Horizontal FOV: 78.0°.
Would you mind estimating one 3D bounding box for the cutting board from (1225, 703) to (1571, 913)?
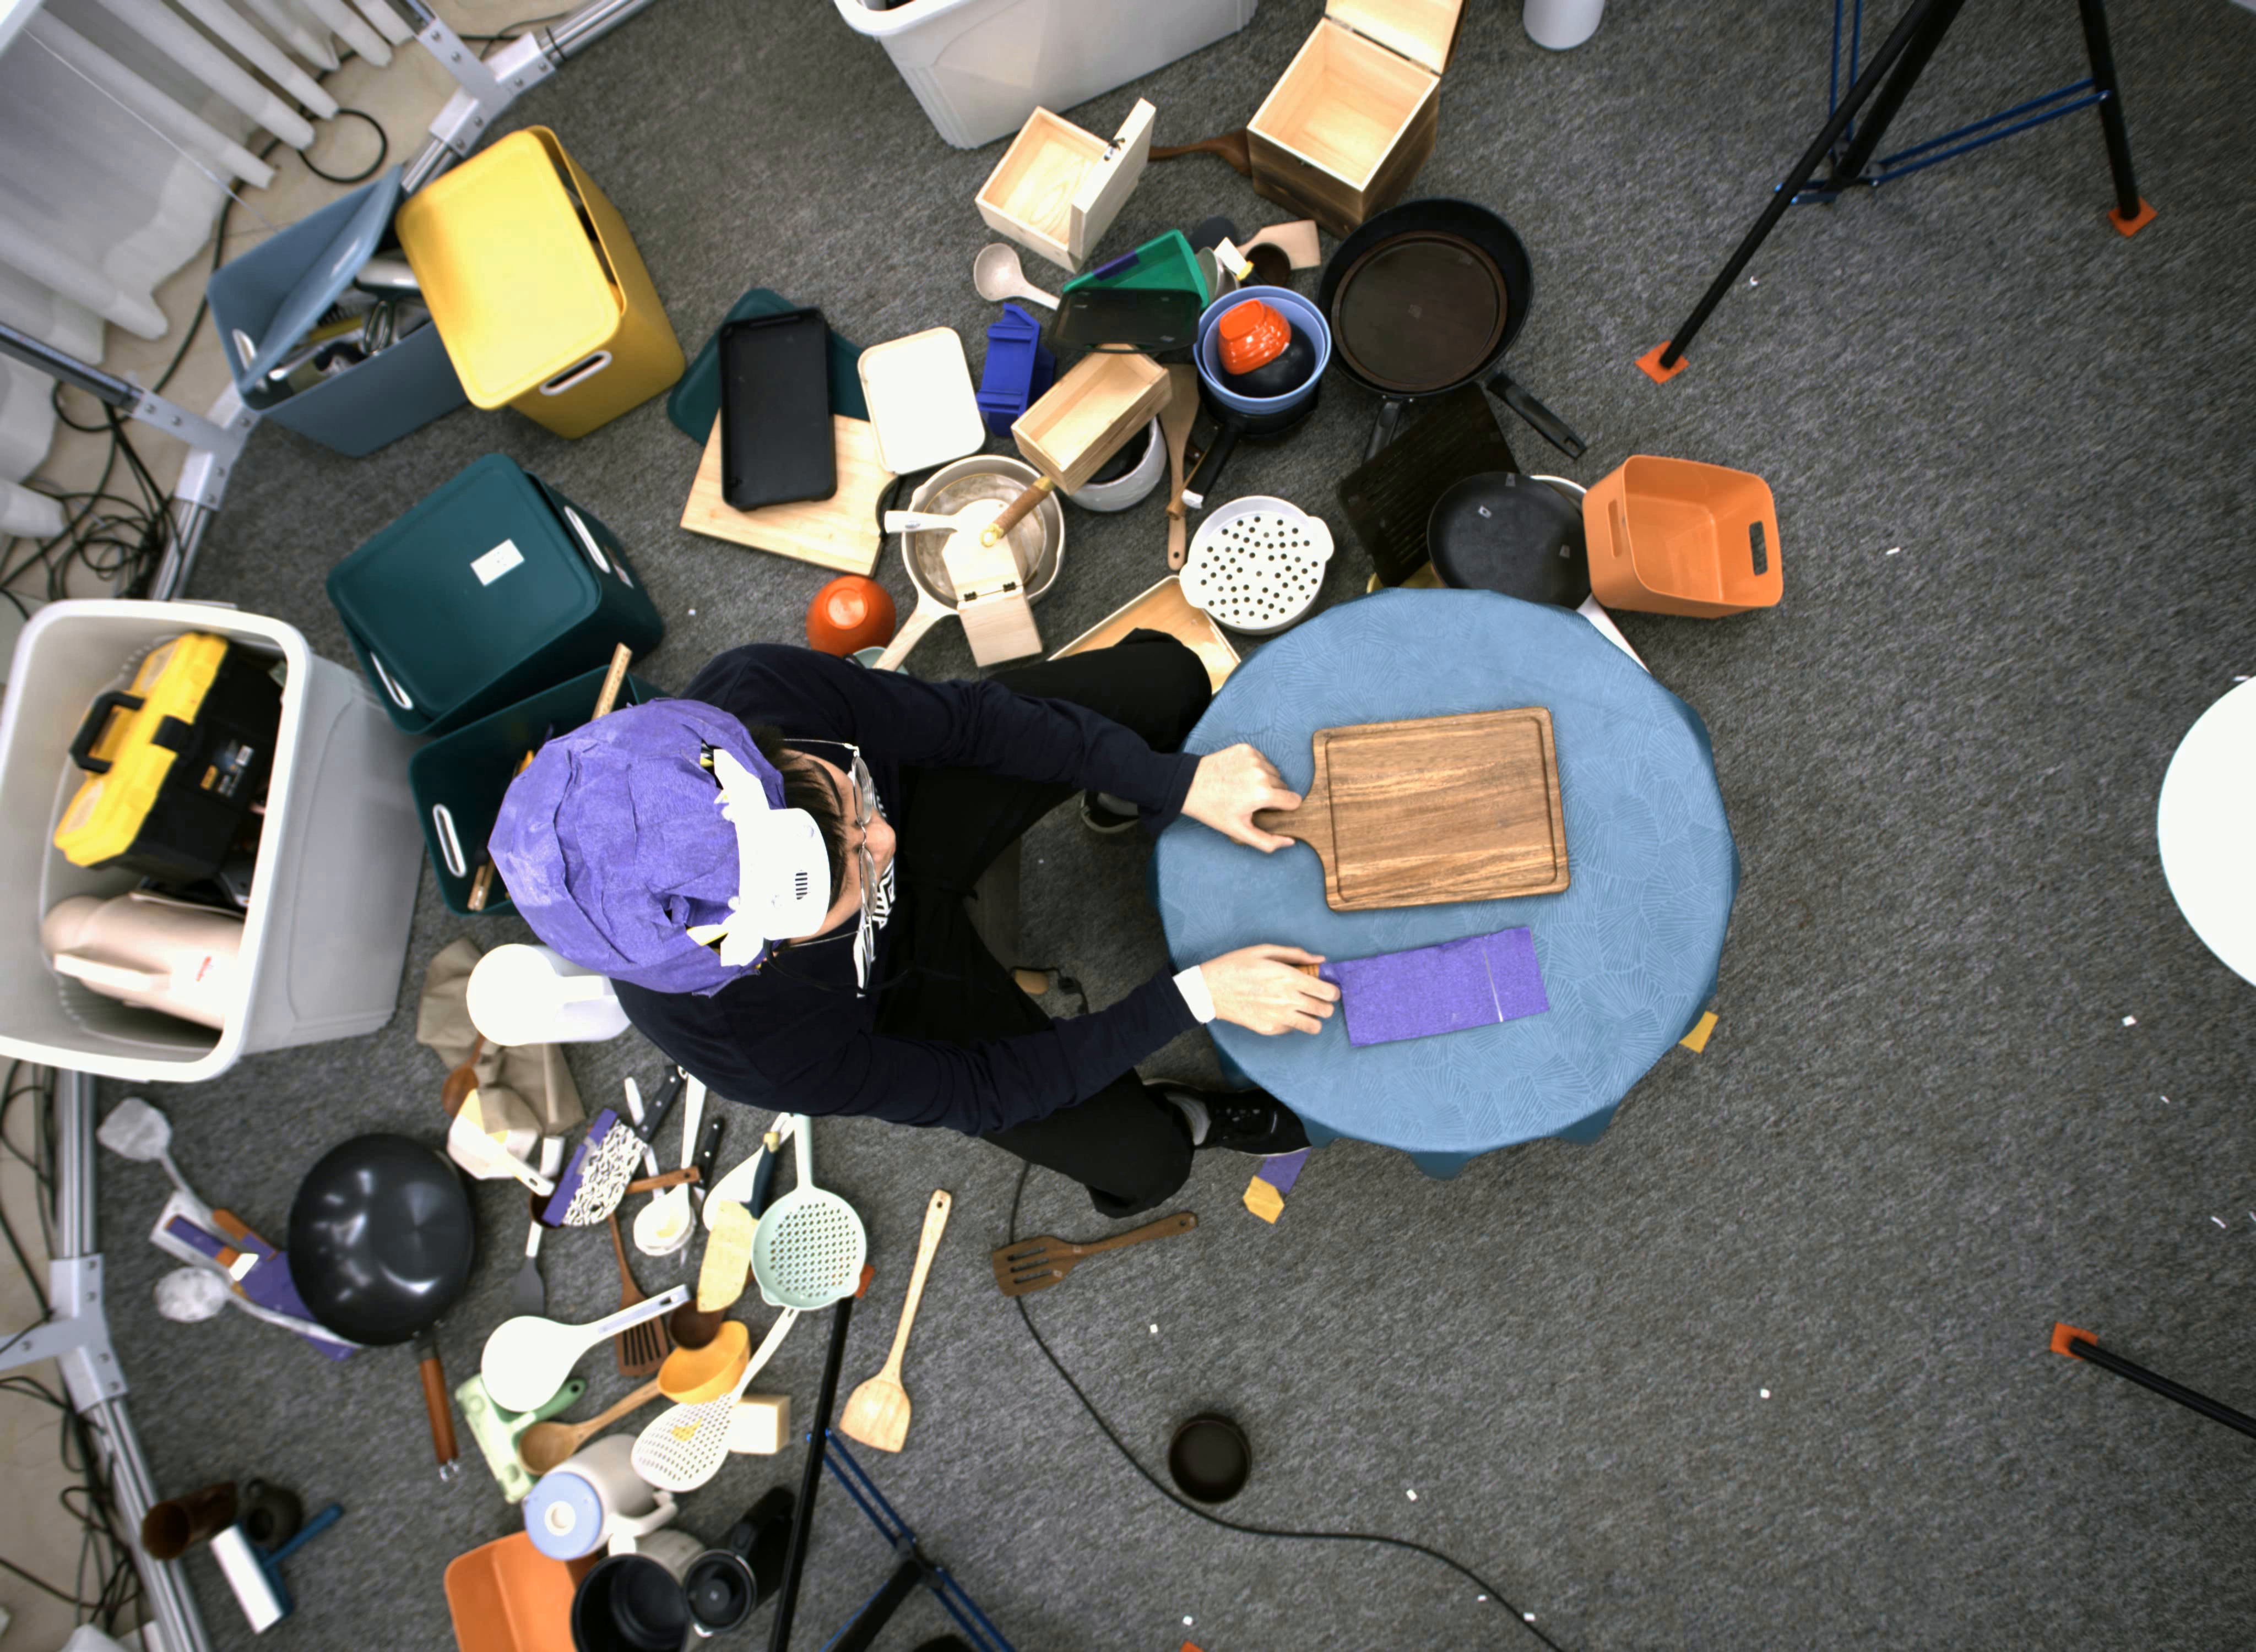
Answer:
[{"bbox_3d":[0.277,-0.015,1.453,0.354,0.023,0.200,-6,86,11],"label":"cutting board"}]

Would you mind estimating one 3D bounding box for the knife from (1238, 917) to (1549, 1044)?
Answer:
[{"bbox_3d":[0.276,0.173,1.438,0.317,0.032,0.103,-12,84,9],"label":"knife"}]
